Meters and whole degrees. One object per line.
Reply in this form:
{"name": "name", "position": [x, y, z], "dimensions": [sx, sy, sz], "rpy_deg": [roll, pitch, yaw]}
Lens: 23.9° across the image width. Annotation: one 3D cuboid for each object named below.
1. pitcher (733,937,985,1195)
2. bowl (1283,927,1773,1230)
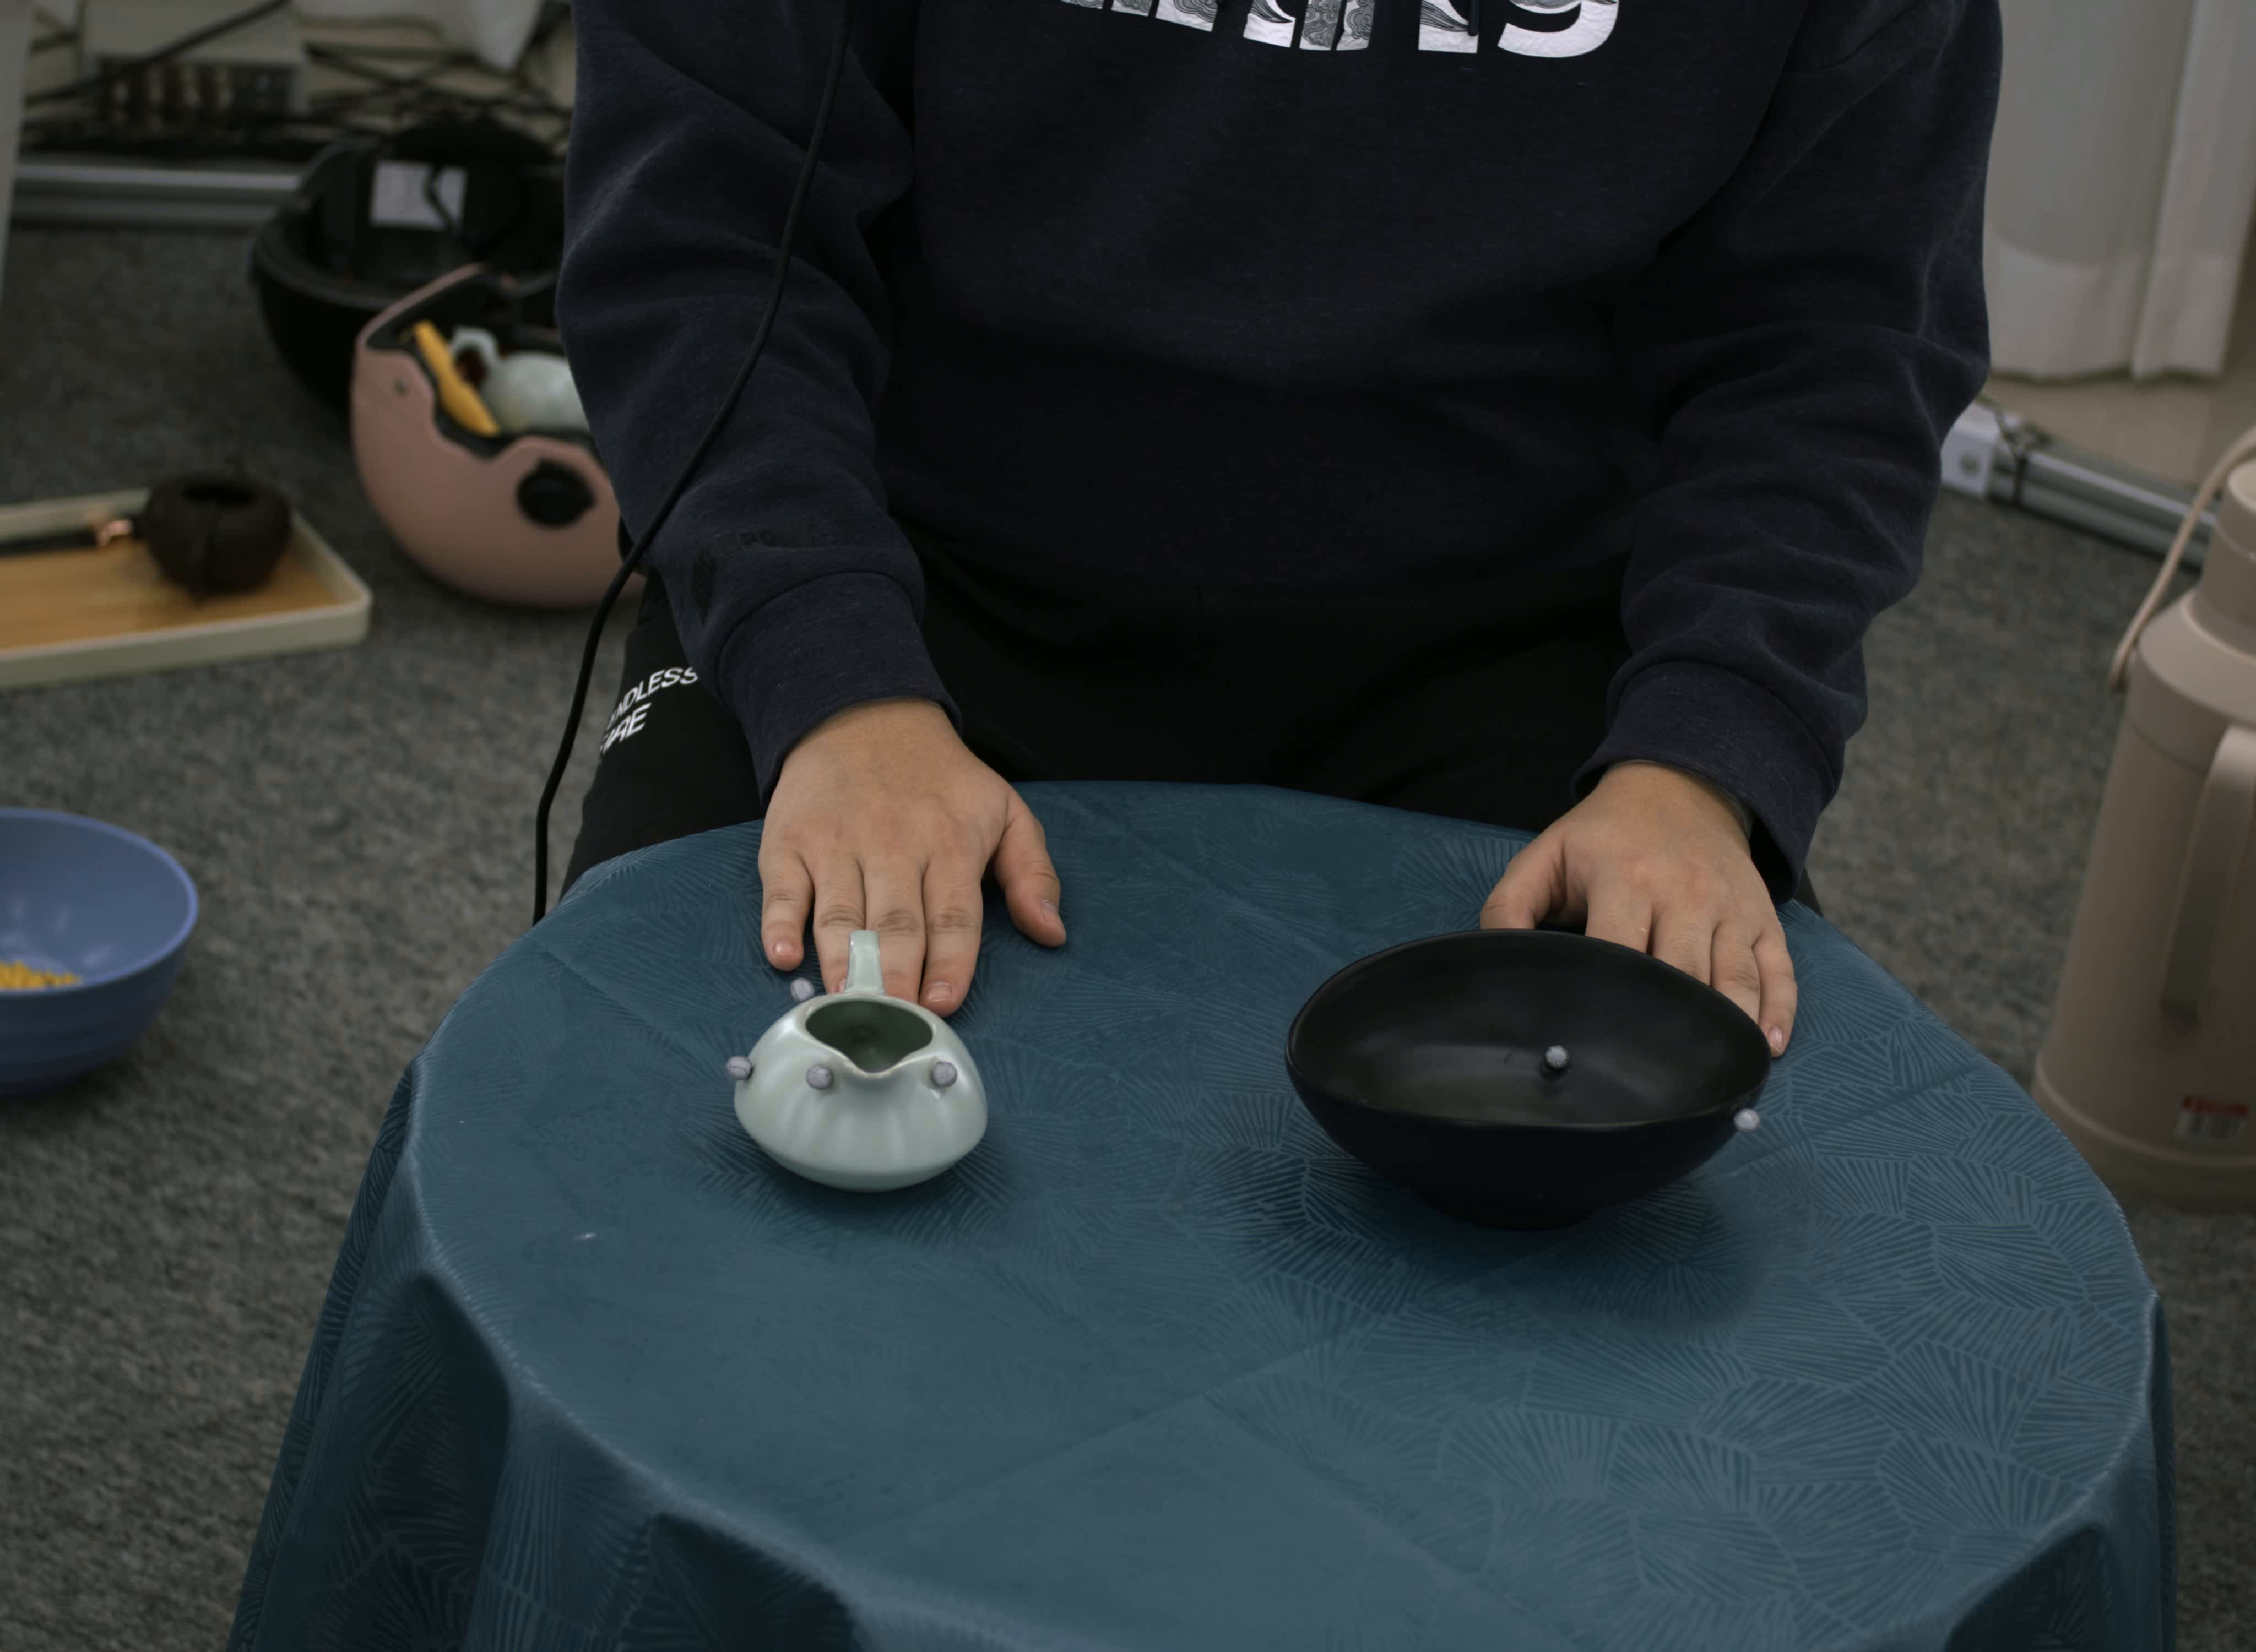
{"name": "pitcher", "position": [-0.091, 0.083, 1.804], "dimensions": [0.085, 0.060, 0.109], "rpy_deg": [4, 25, -8]}
{"name": "bowl", "position": [0.136, 0.096, 1.825], "dimensions": [0.169, 0.066, 0.138], "rpy_deg": [-2, 27, -16]}
